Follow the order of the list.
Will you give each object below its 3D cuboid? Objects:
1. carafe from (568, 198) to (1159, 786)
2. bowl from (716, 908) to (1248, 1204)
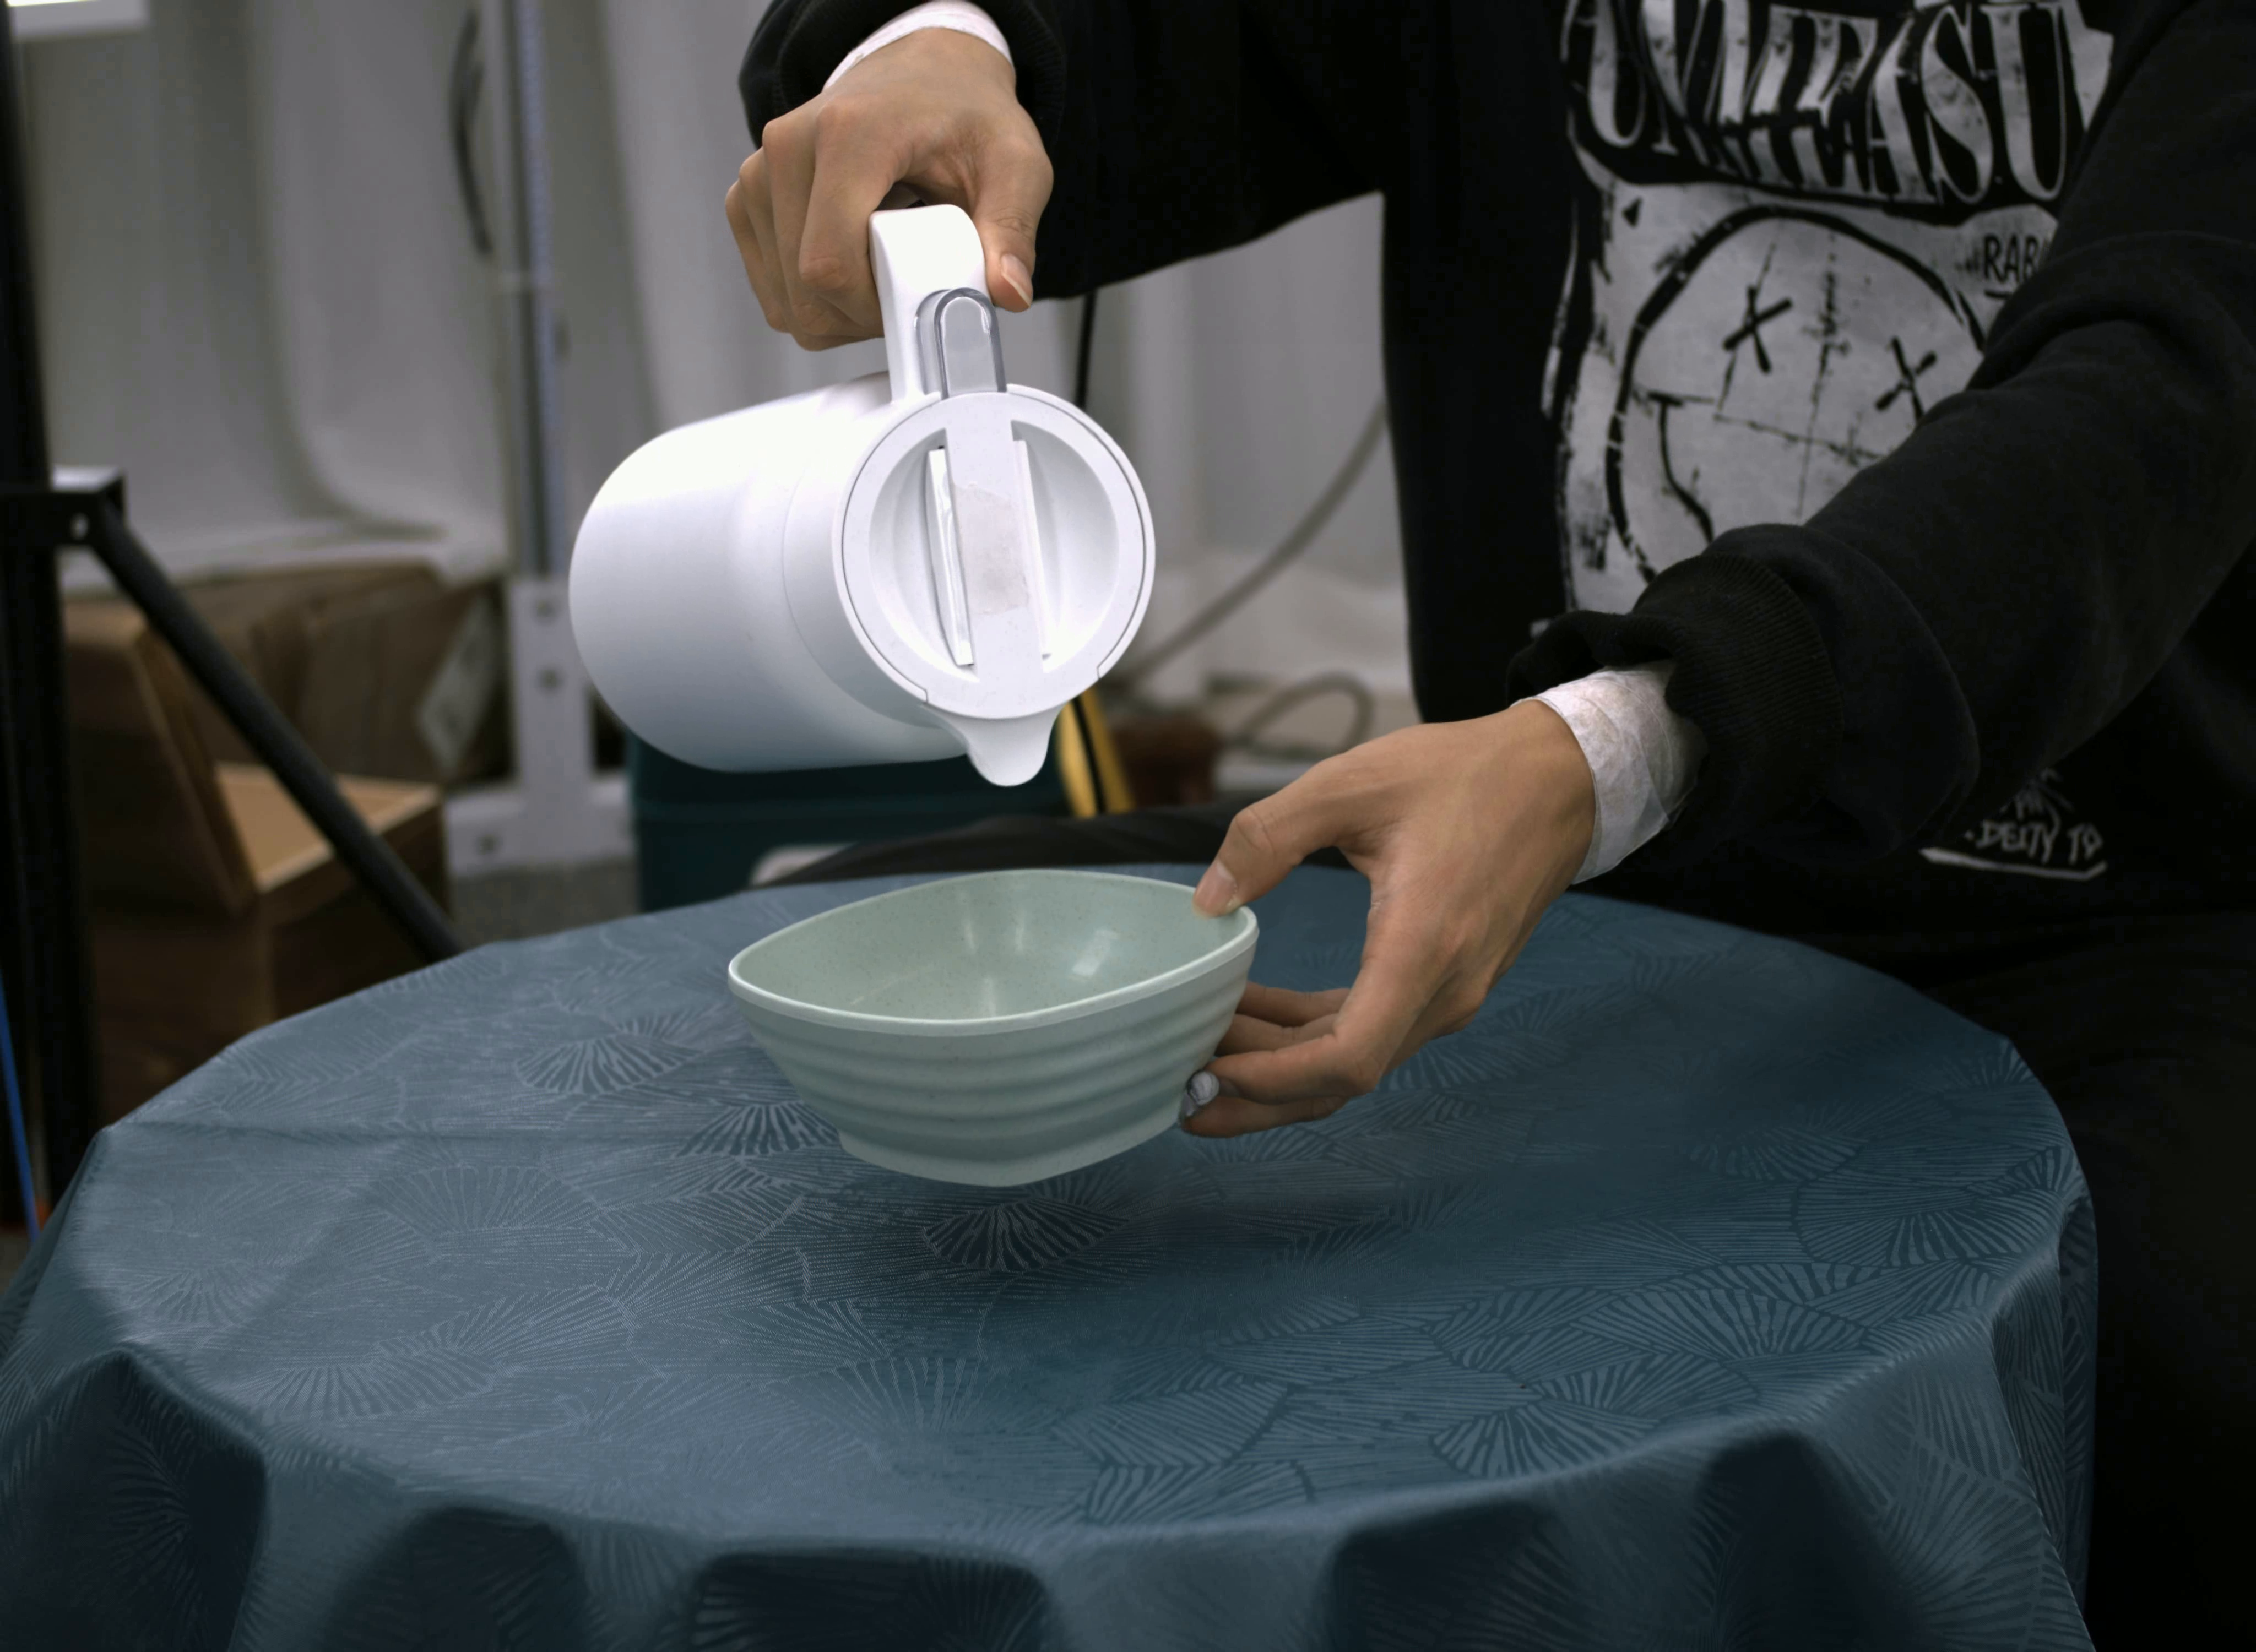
[{"bbox_3d":[-0.087,-0.095,1.639,0.122,0.173,0.272,-10,2,-18],"label":"carafe"},{"bbox_3d":[-0.040,0.067,1.508,0.150,0.059,0.152,-3,11,-1],"label":"bowl"}]
